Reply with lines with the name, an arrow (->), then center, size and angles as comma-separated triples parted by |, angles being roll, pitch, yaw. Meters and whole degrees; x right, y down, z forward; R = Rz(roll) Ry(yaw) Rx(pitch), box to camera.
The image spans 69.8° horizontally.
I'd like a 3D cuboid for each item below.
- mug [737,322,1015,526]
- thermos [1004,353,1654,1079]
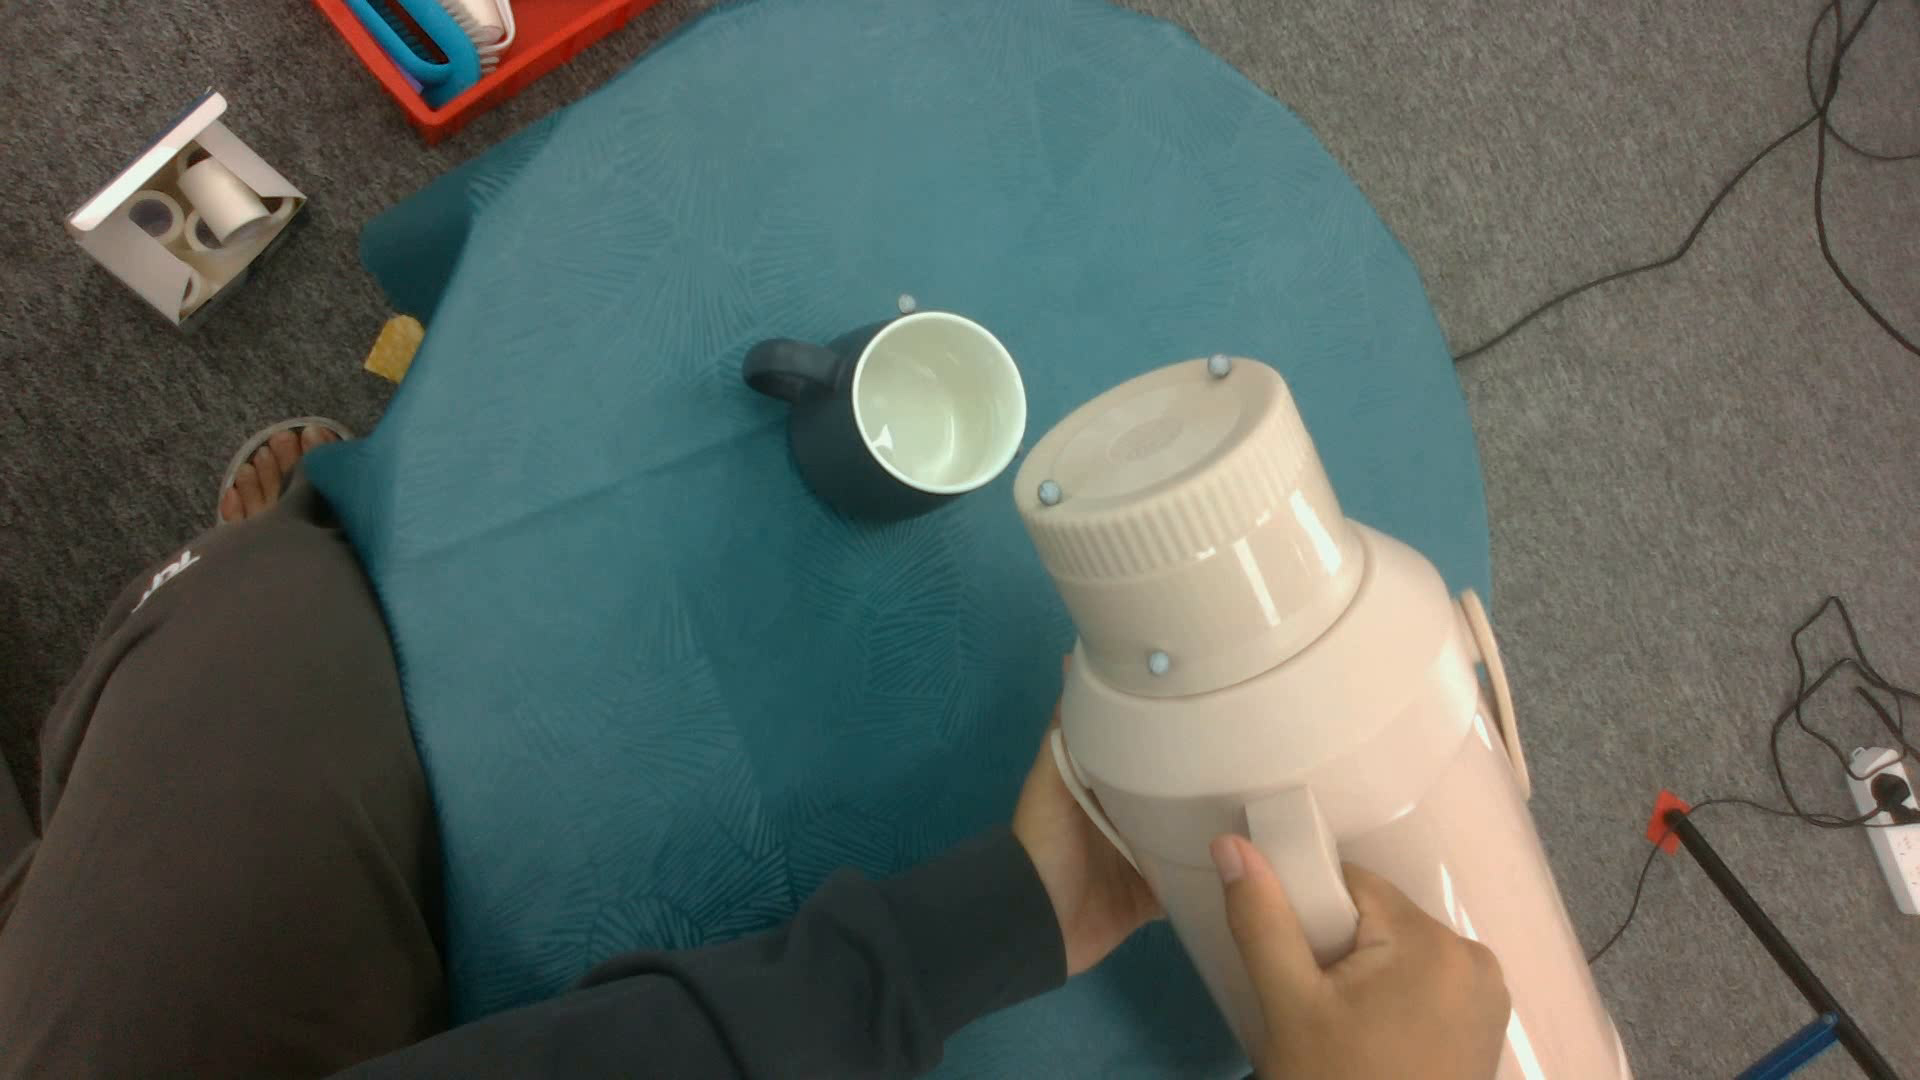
mug -> -0.042, -0.060, 0.636 | 0.123, 0.089, 0.093 | 20, 79, -20
thermos -> 0.157, 0.122, 0.577 | 0.175, 0.208, 0.405 | -24, 116, 16
